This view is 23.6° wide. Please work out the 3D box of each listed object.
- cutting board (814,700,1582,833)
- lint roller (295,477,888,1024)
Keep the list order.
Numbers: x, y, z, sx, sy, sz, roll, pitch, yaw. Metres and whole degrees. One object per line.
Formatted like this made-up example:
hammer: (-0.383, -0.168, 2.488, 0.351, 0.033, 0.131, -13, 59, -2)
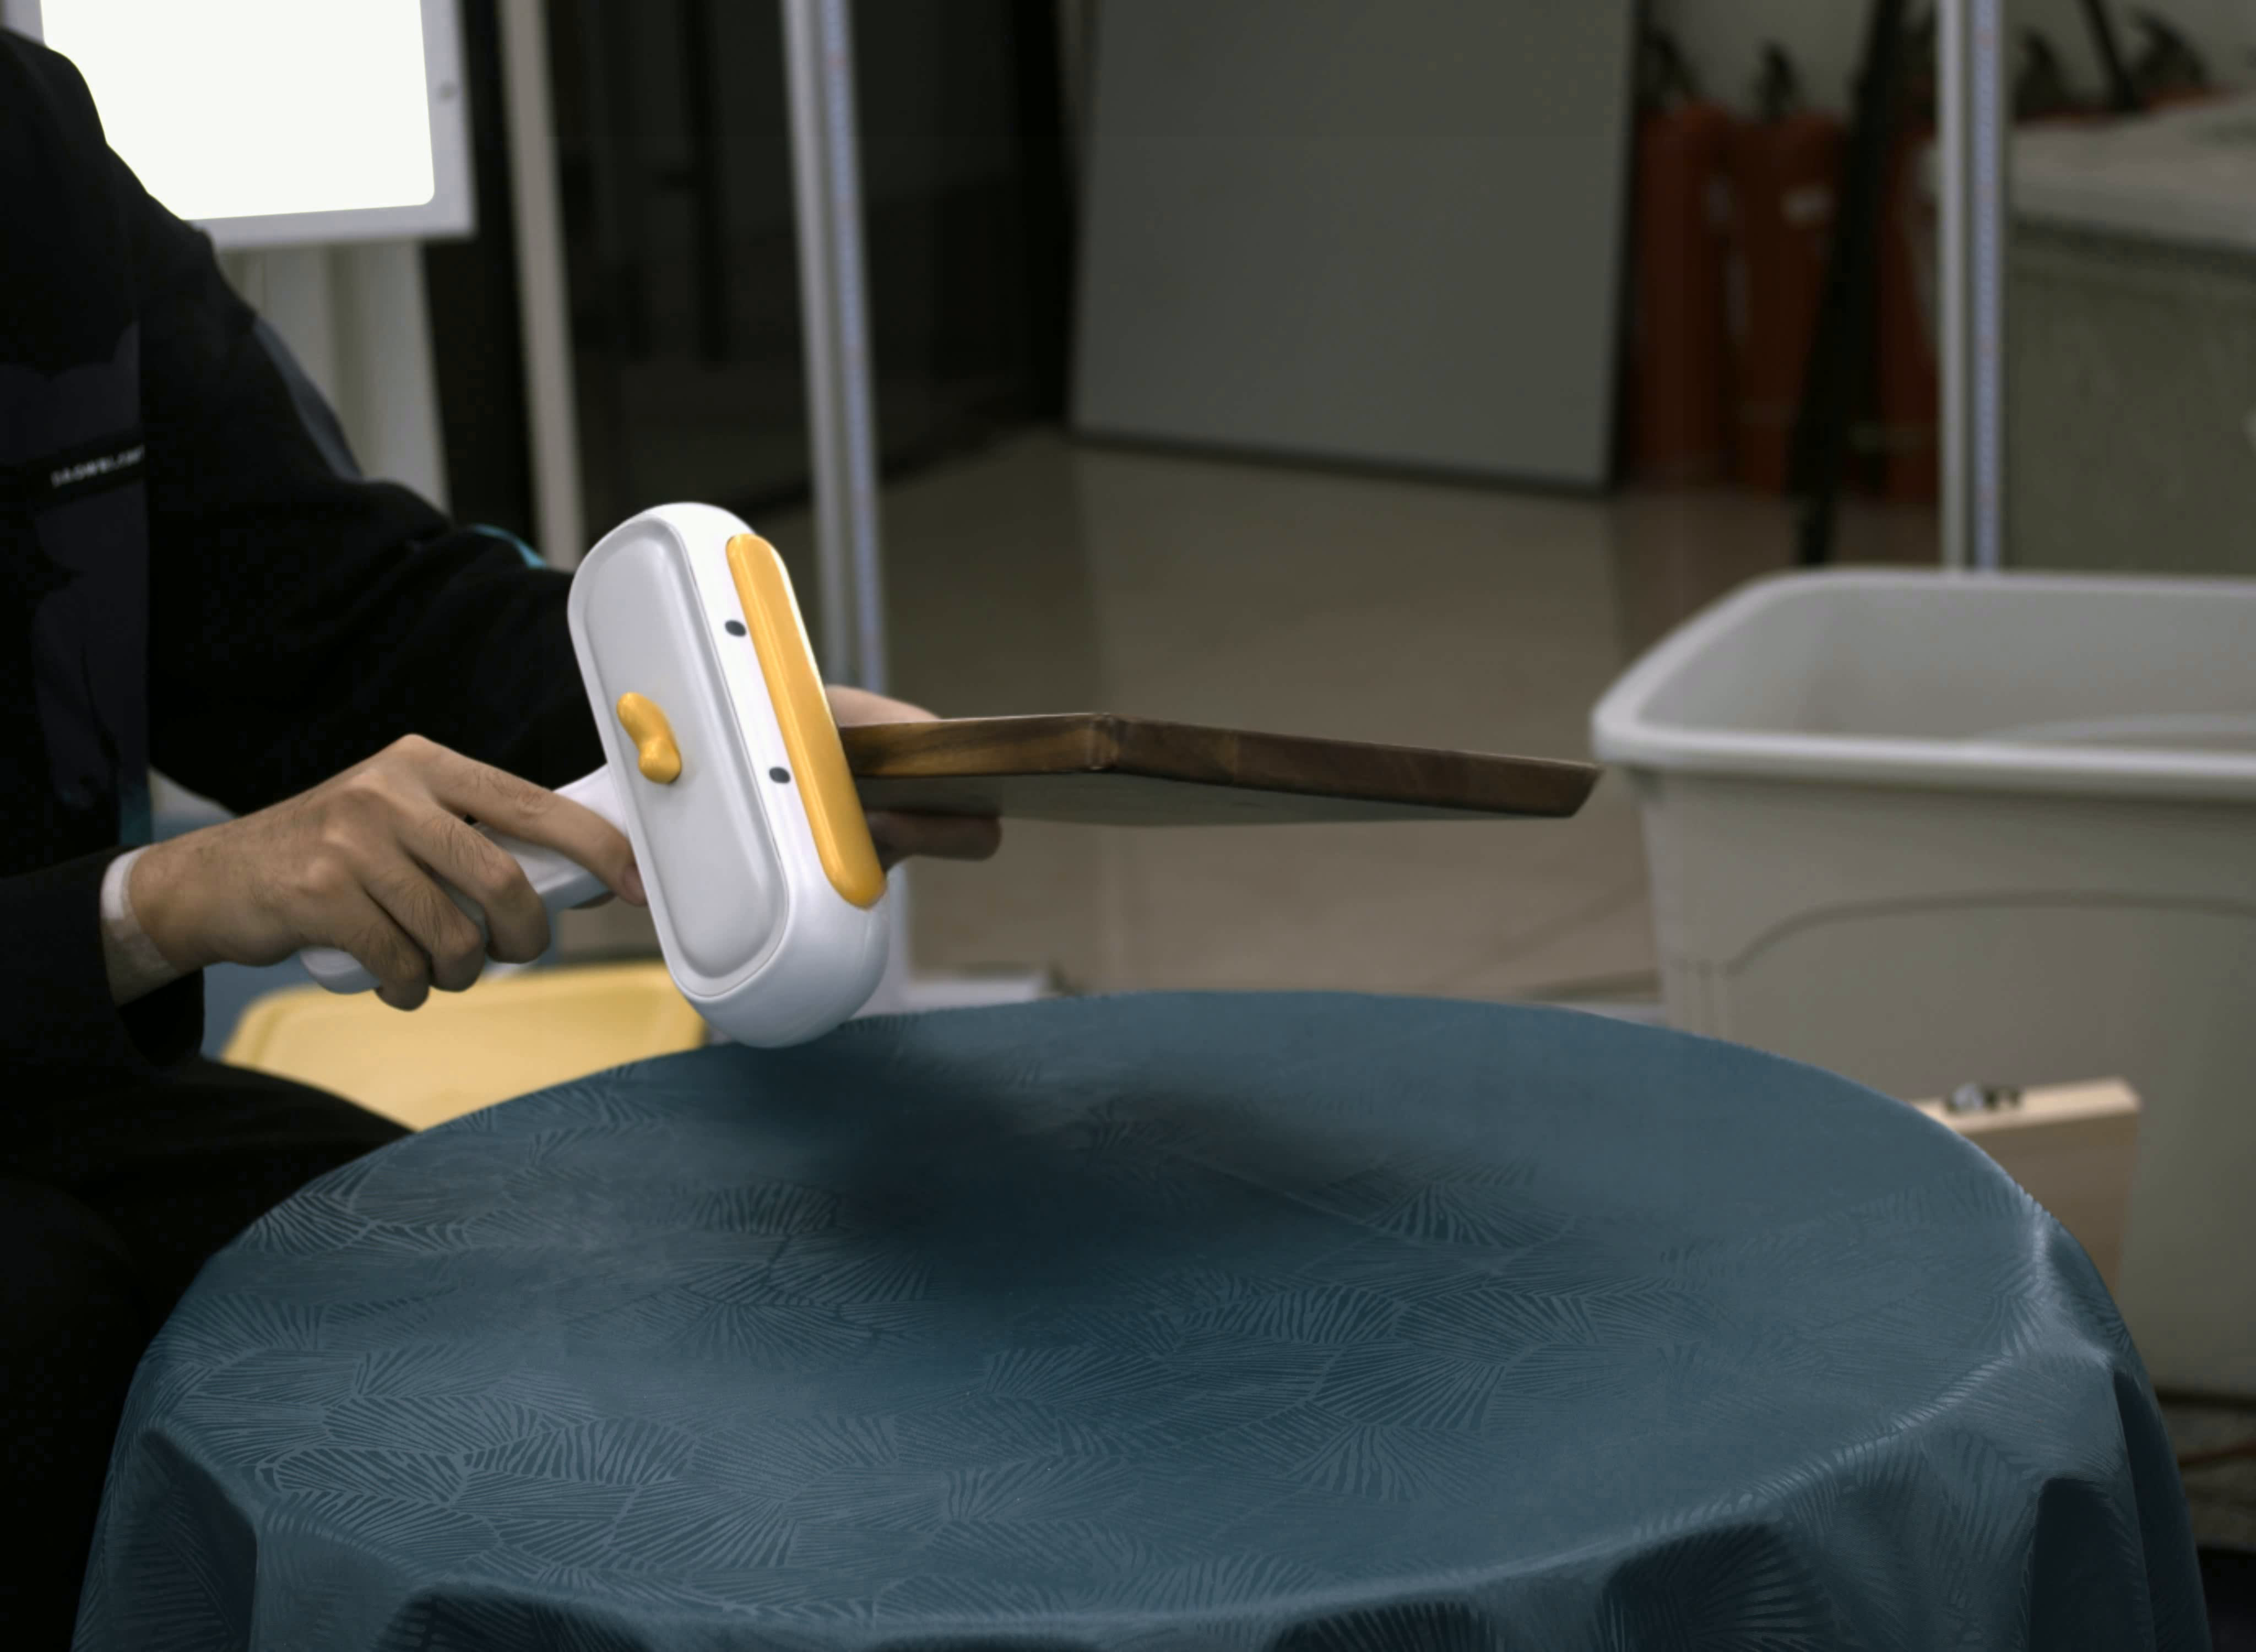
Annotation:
cutting board: (-0.031, -0.016, 1.807, 0.196, 0.023, 0.356, 5, -5, -35)
lint roller: (-0.181, 0.003, 1.744, 0.193, 0.195, 0.073, -34, -30, 17)
